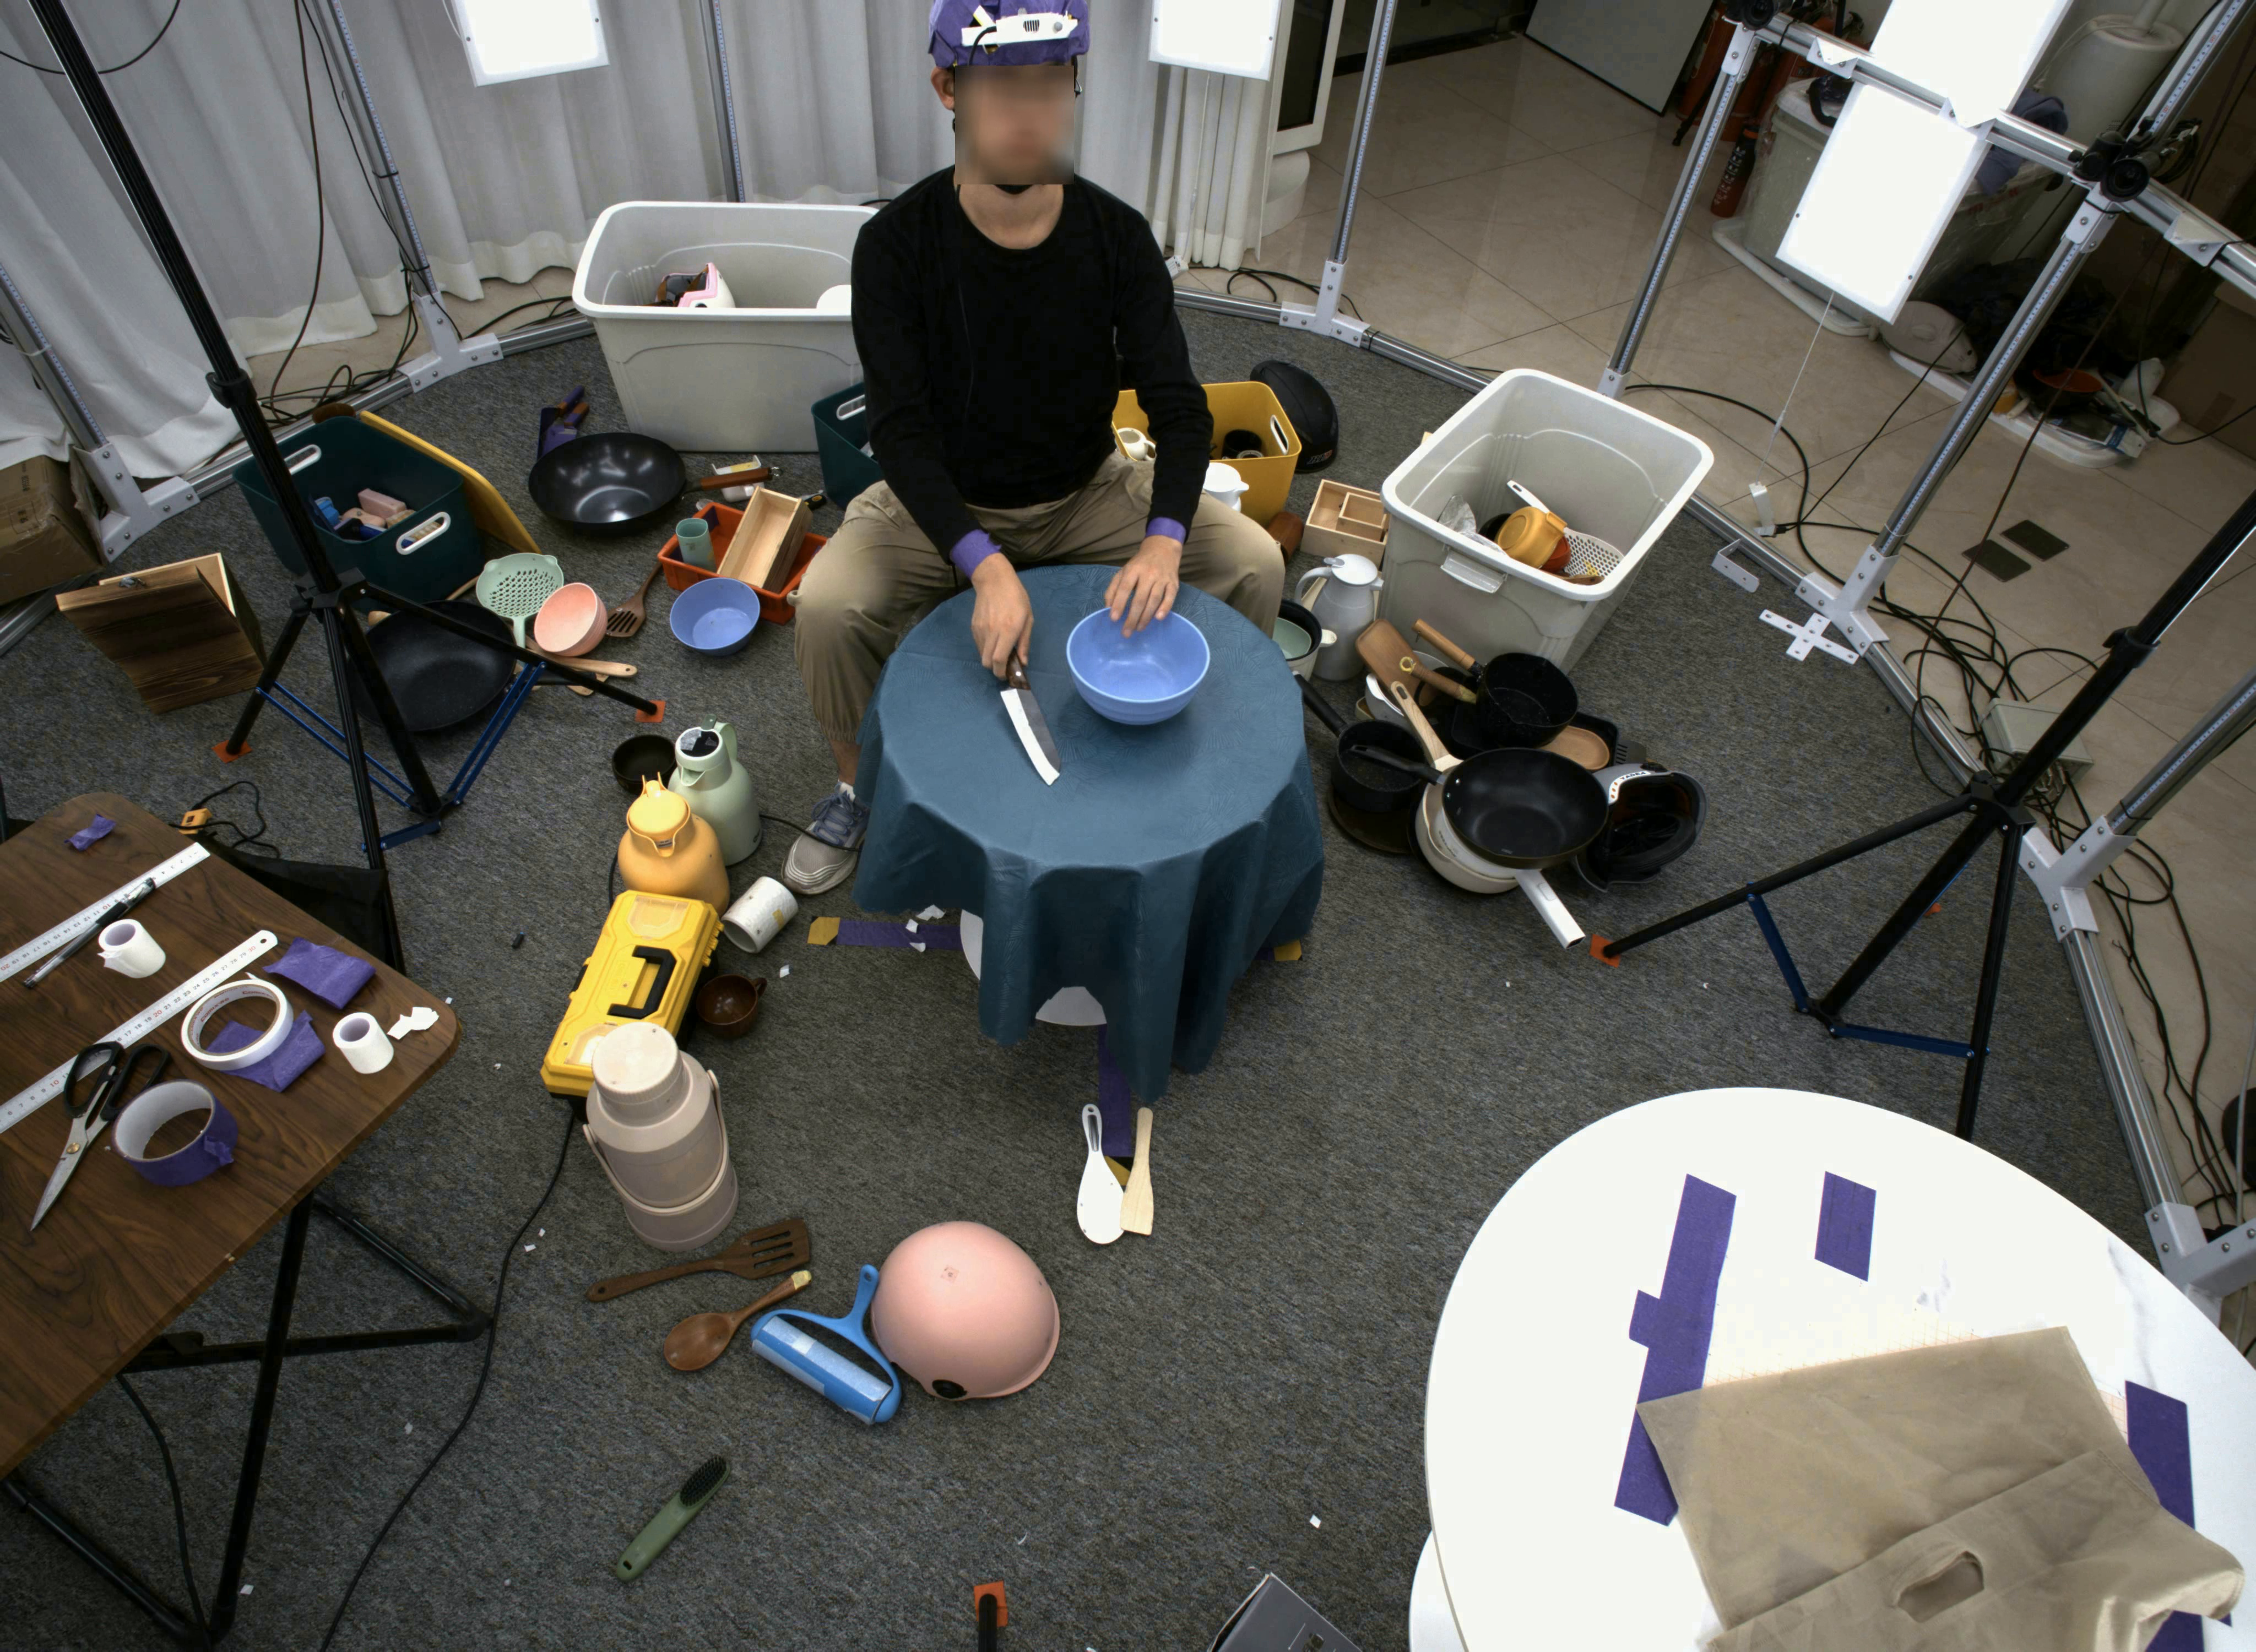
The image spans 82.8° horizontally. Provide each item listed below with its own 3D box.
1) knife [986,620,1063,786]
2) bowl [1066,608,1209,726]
[{"bbox_3d":[-0.147,-0.174,1.782,0.050,0.019,0.295,-12,59,-16],"label":"knife"},{"bbox_3d":[0.011,-0.208,1.792,0.196,0.093,0.201,1,48,-1],"label":"bowl"}]
